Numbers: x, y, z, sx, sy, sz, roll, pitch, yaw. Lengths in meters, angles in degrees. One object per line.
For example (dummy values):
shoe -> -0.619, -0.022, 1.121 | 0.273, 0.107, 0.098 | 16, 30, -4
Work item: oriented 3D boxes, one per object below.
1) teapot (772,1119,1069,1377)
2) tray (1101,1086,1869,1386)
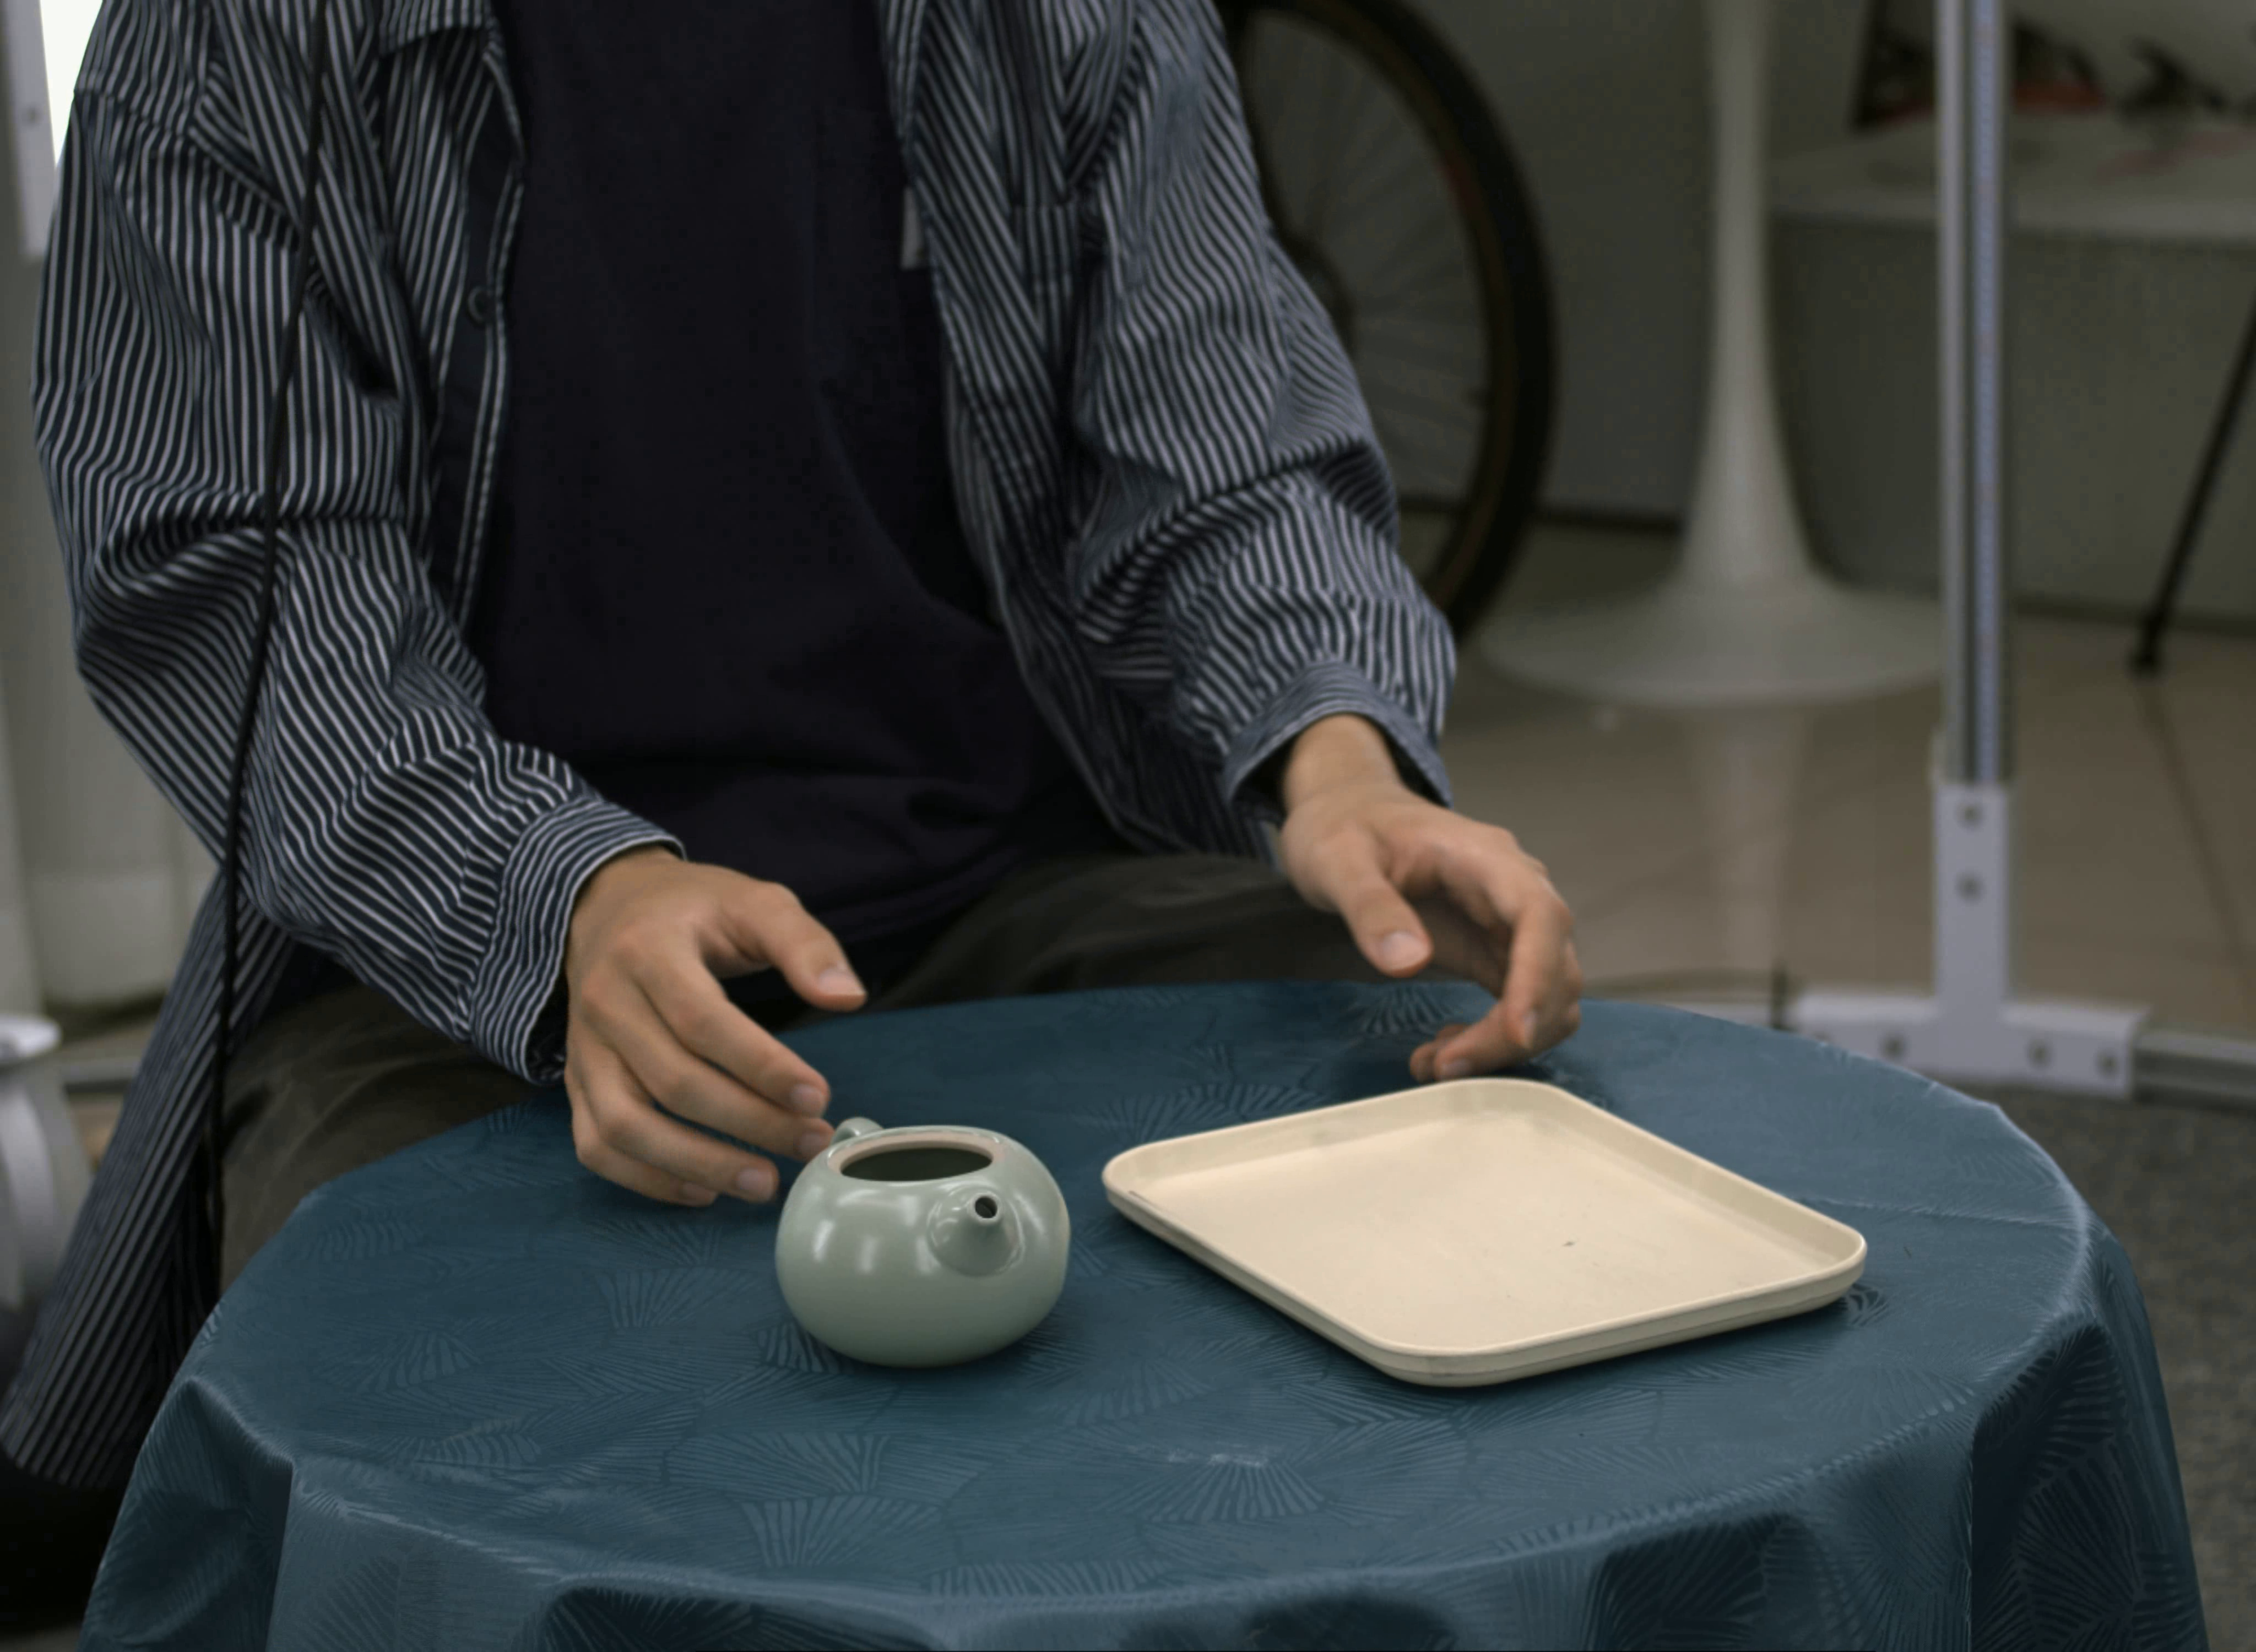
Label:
teapot -> -0.066, 0.127, 1.642 | 0.089, 0.061, 0.129 | -11, 14, -18
tray -> 0.108, 0.126, 1.679 | 0.167, 0.017, 0.242 | -9, 14, -23
